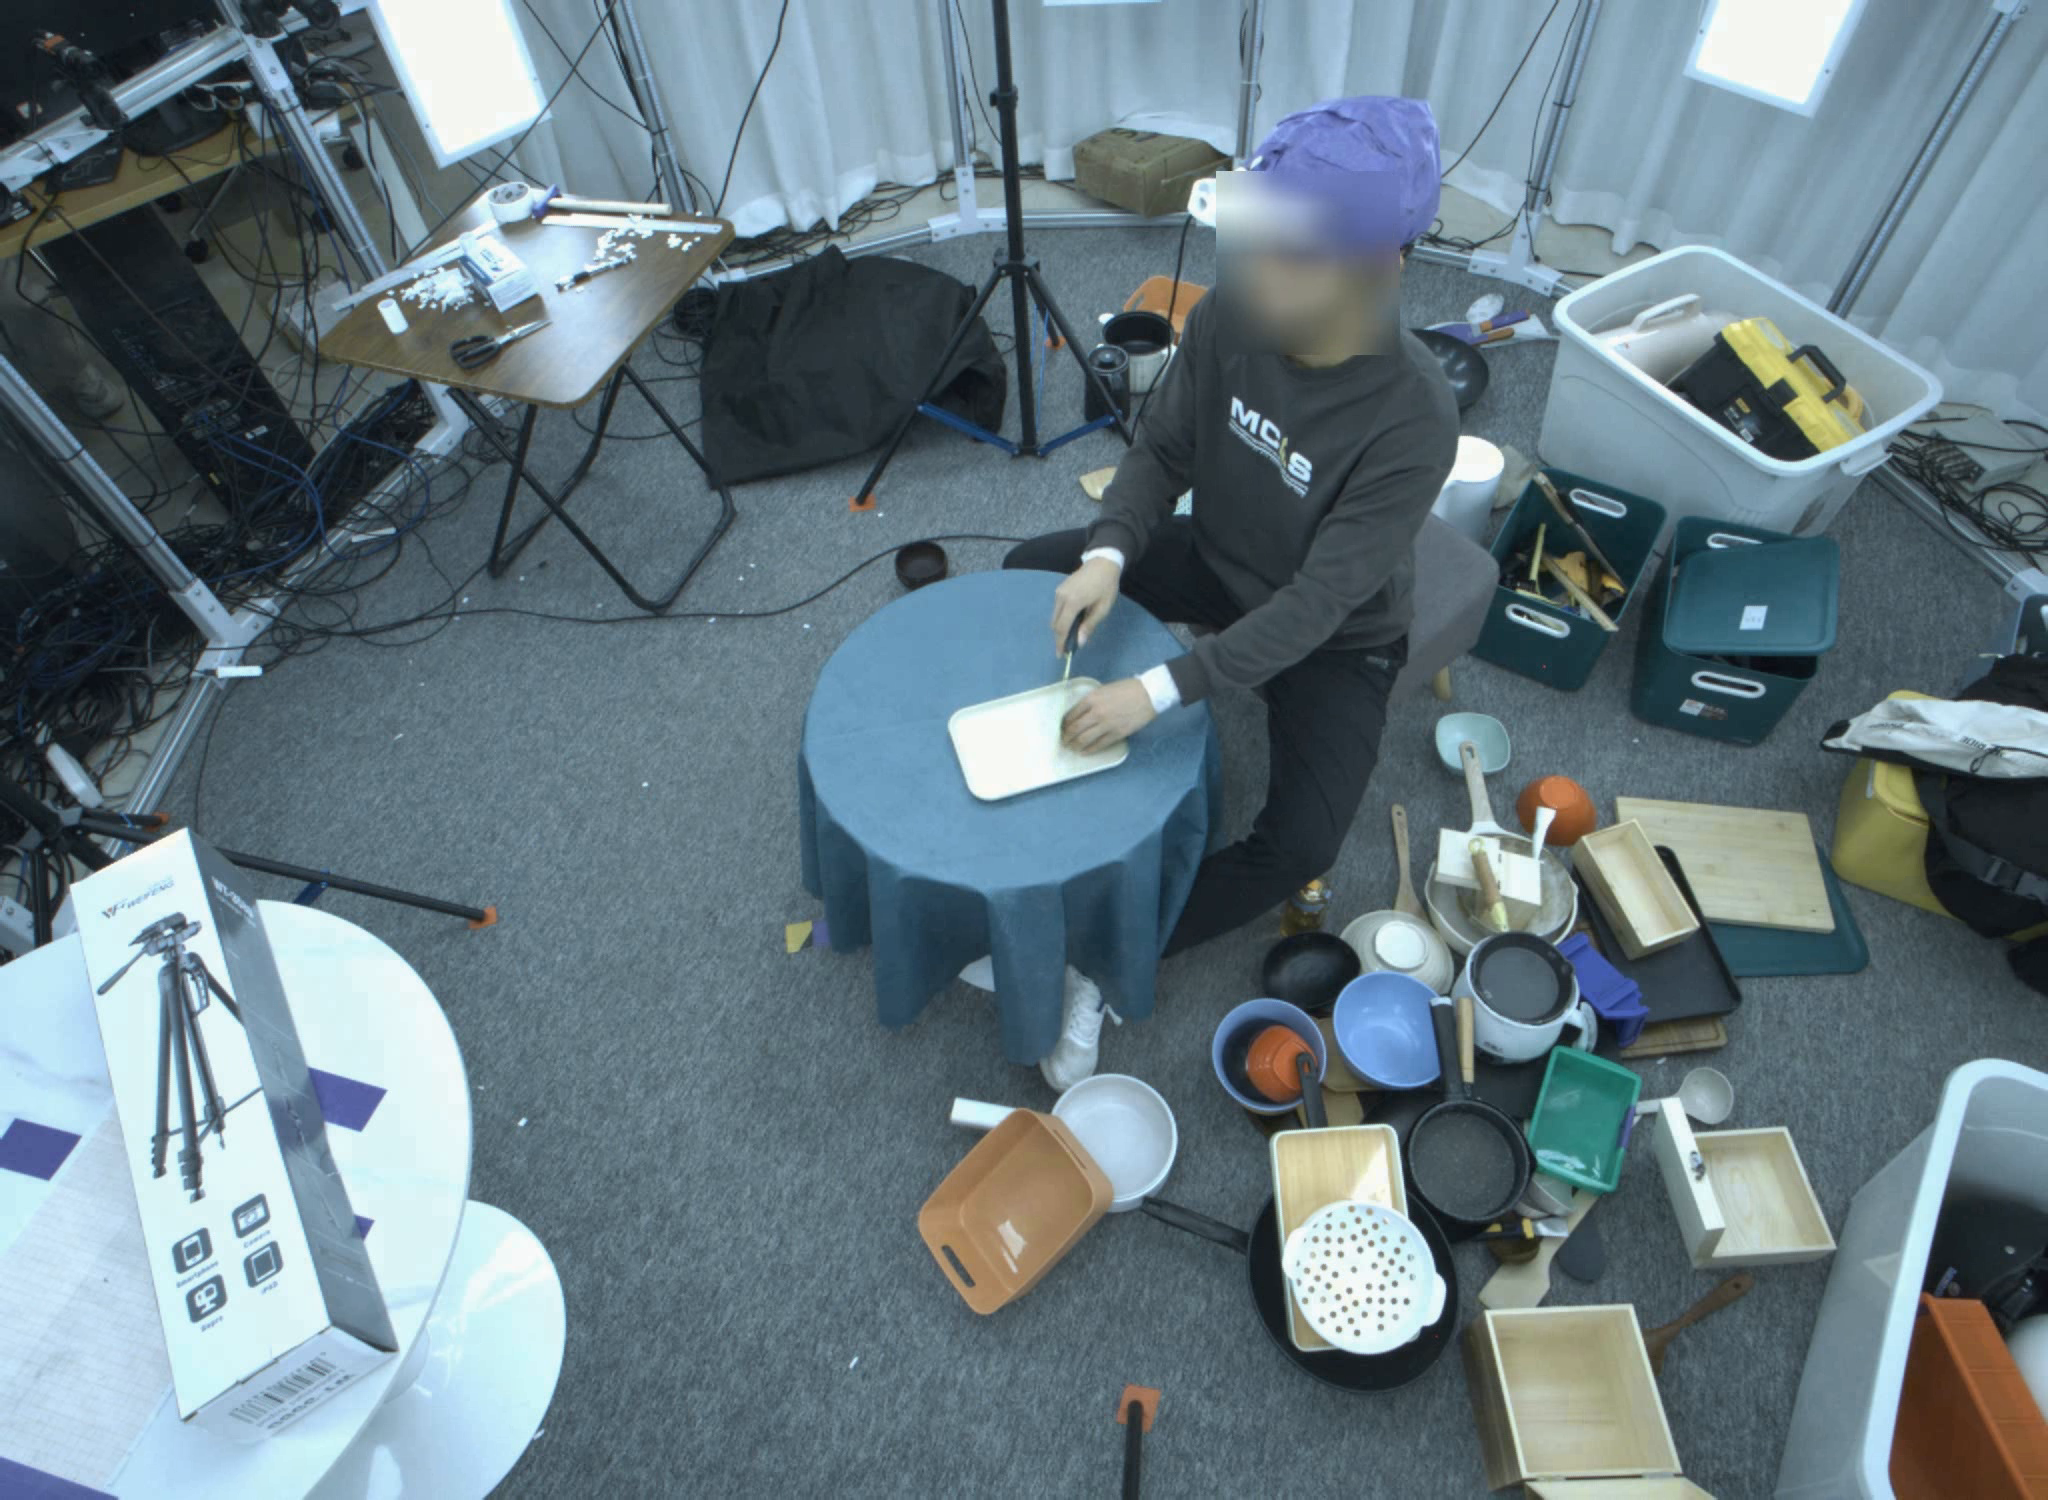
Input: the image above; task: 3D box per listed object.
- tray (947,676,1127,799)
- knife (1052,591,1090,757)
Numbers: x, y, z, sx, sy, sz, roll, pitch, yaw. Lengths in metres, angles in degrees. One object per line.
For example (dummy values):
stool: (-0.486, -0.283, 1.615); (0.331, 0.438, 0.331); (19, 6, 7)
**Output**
tray: (0.019, -0.018, 1.797); (0.241, 0.017, 0.168); (-16, 55, -10)
knife: (0.064, -0.112, 1.796); (0.027, 0.081, 0.288); (13, 60, -2)
